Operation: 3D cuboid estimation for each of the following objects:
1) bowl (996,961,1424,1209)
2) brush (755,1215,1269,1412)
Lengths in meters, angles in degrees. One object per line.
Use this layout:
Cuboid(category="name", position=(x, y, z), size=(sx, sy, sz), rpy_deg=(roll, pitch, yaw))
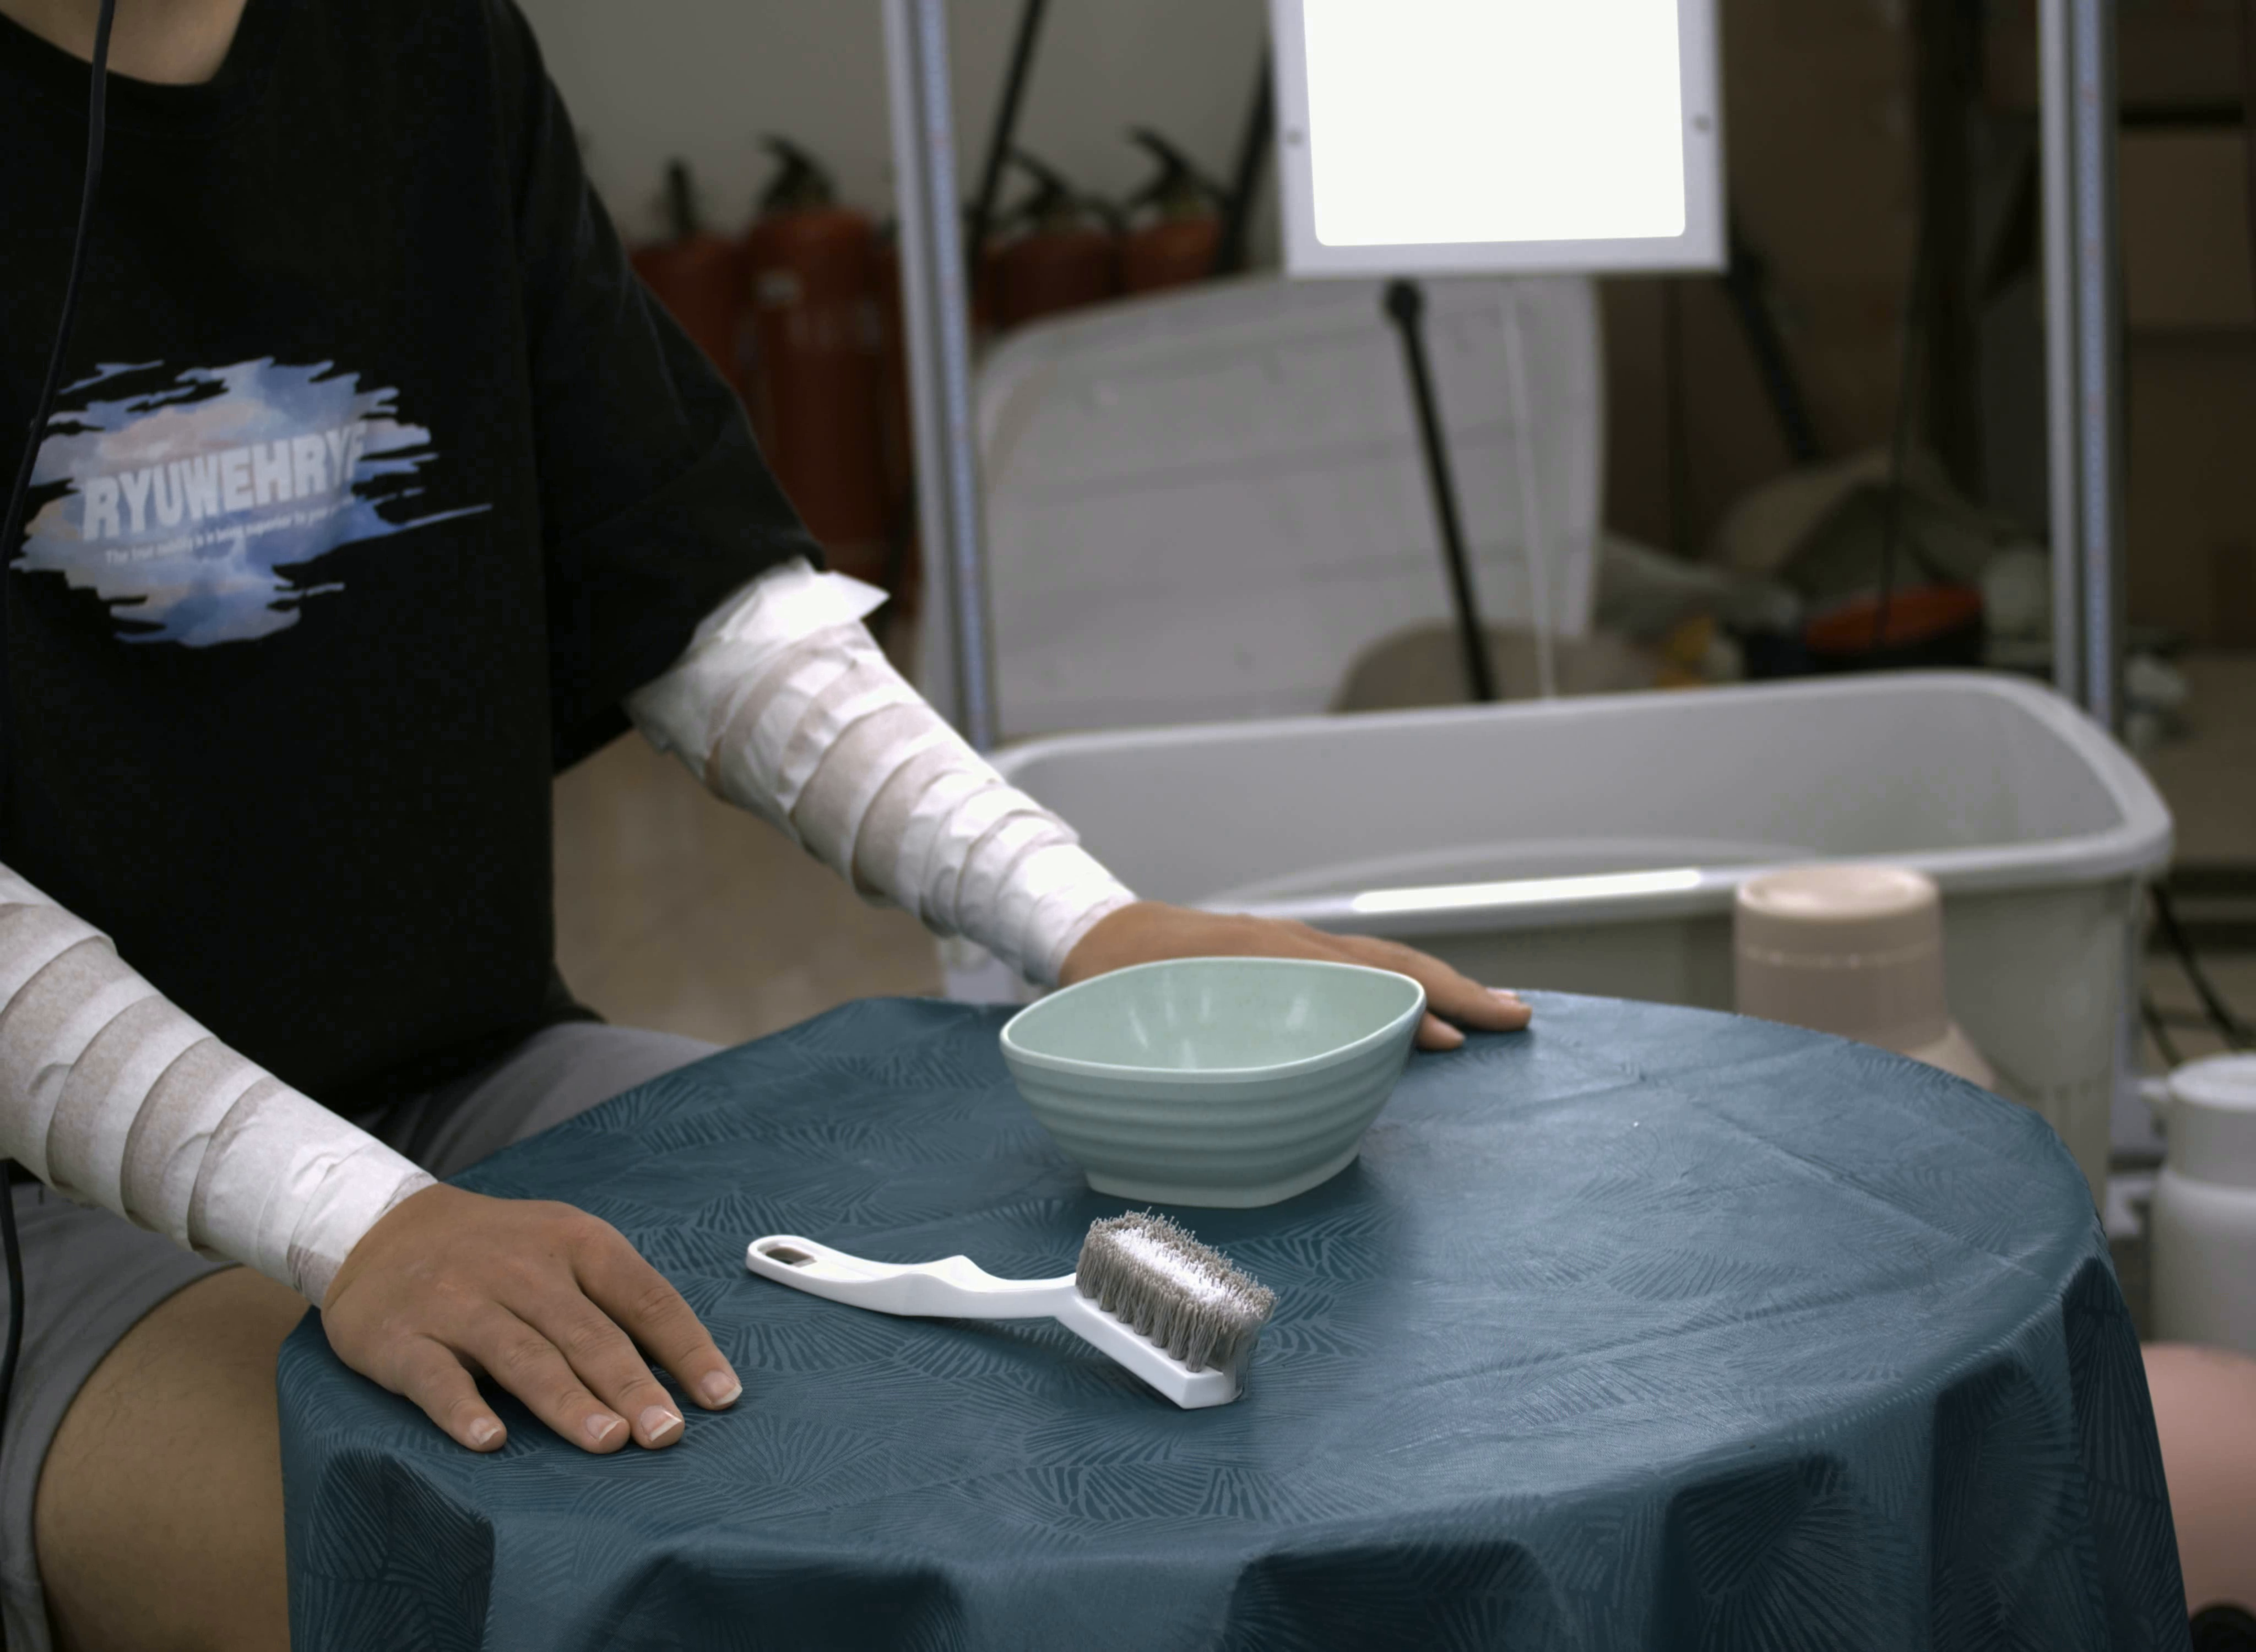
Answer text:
Cuboid(category="bowl", position=(0.030, 0.092, 1.908), size=(0.151, 0.059, 0.151), rpy_deg=(-4, 13, -1))
Cuboid(category="brush", position=(-0.043, 0.137, 1.762), size=(0.033, 0.050, 0.249), rpy_deg=(-15, 18, -36))
